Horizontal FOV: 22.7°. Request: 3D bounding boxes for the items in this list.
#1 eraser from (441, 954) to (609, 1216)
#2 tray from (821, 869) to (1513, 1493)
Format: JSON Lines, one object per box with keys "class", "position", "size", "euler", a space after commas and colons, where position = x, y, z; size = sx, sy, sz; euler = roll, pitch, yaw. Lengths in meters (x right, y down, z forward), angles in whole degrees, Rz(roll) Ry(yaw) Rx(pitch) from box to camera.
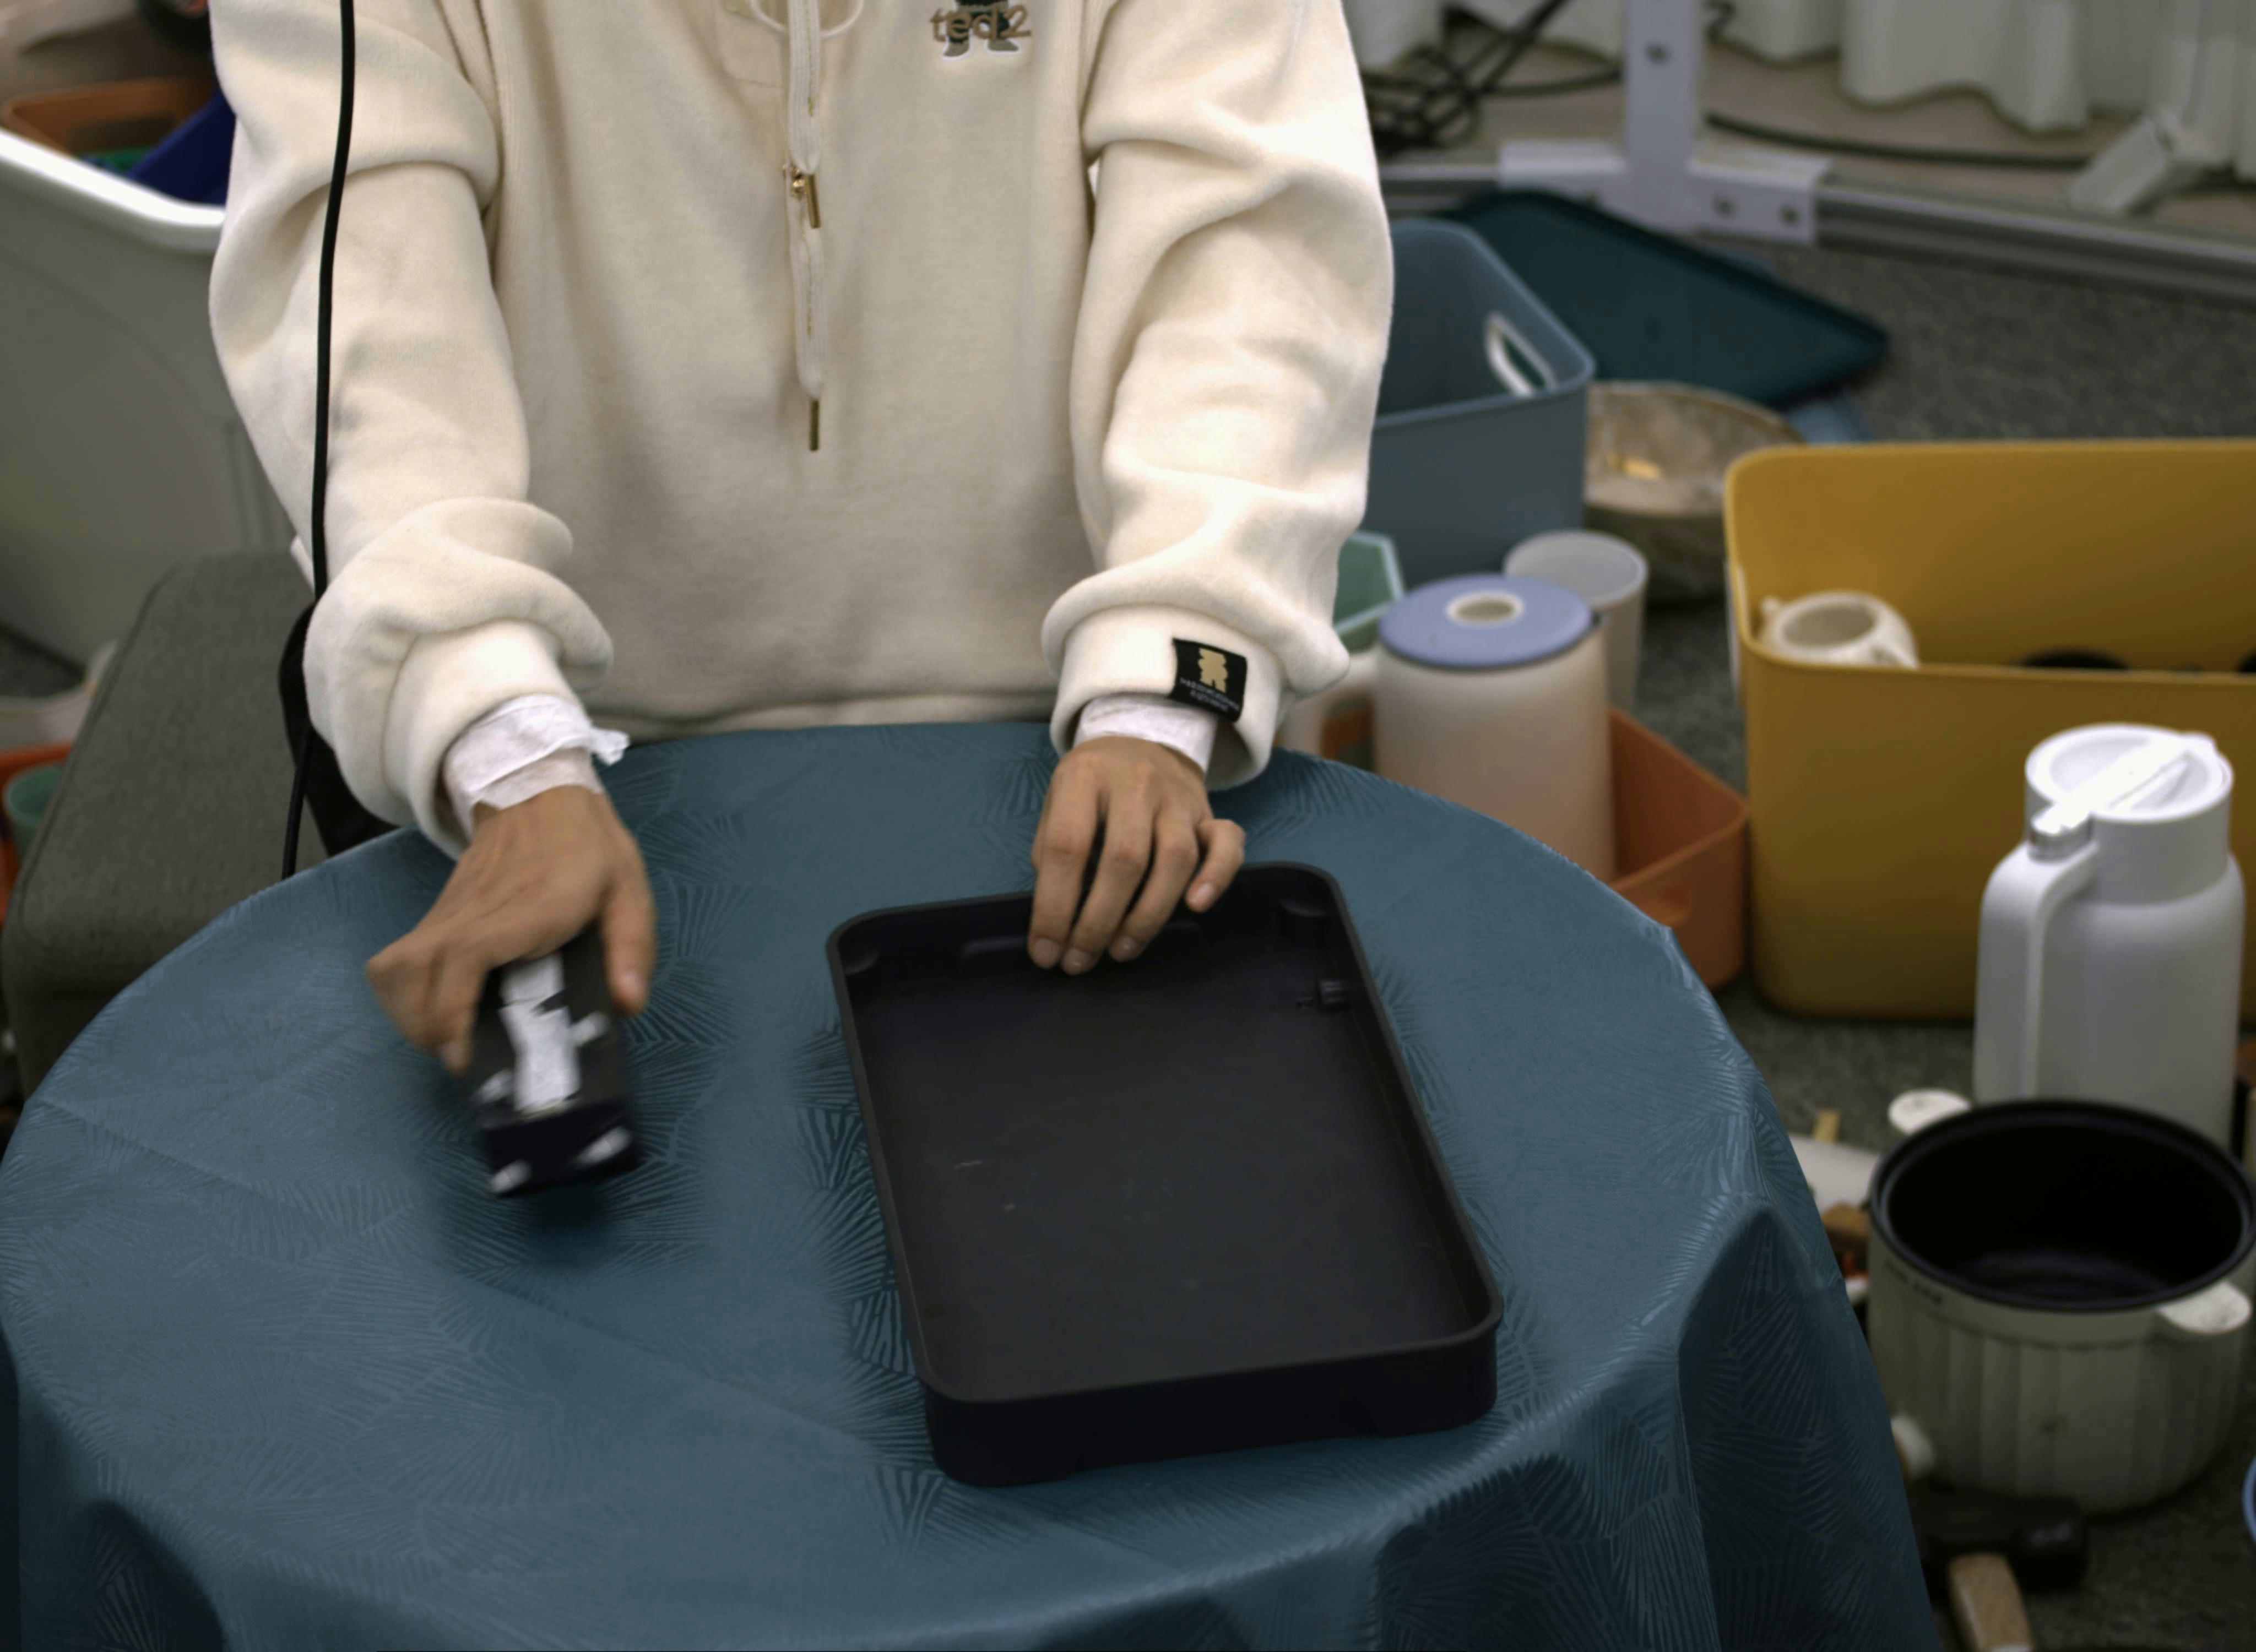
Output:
{"class": "eraser", "position": [-0.203, 0.087, 1.891], "size": [0.053, 0.030, 0.127], "euler": [-9, 27, -3]}
{"class": "tray", "position": [0.007, 0.110, 1.843], "size": [0.184, 0.036, 0.322], "euler": [-6, 27, -7]}
